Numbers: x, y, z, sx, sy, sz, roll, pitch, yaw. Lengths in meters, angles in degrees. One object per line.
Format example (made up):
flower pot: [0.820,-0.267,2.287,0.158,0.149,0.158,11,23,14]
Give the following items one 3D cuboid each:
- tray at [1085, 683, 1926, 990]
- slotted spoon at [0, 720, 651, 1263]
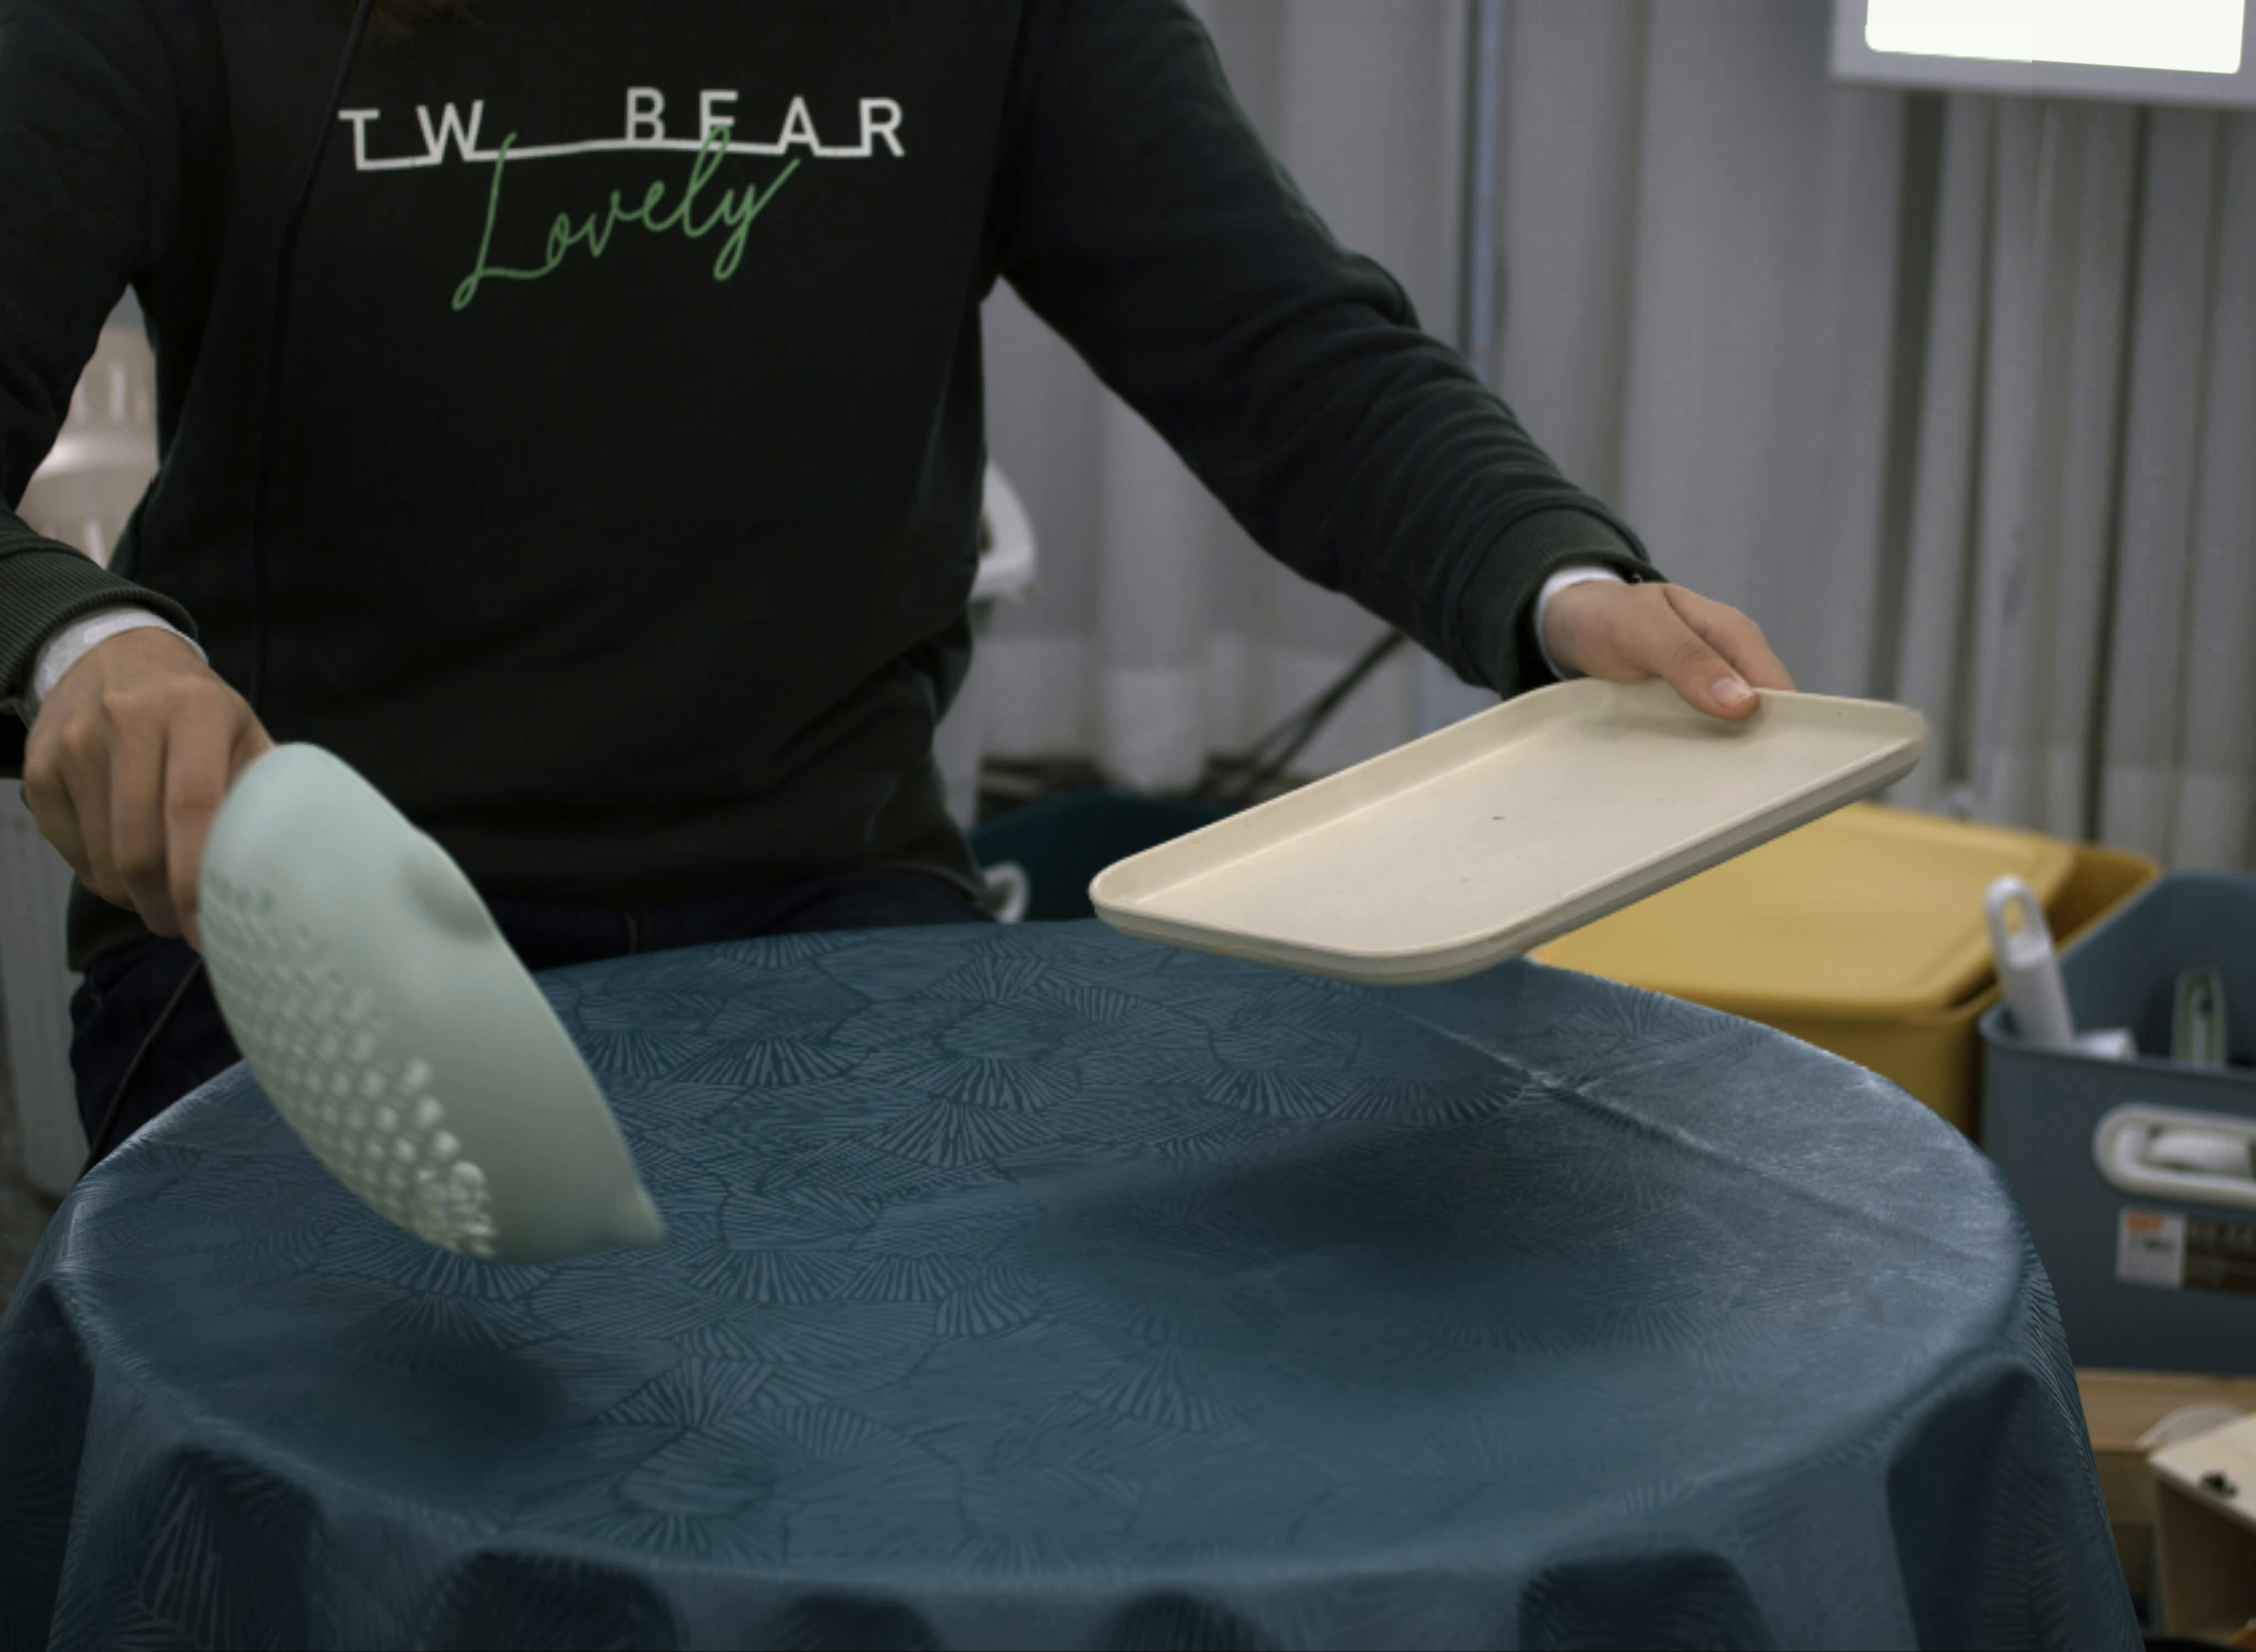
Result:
tray: [0.118,0.002,1.625,0.240,0.017,0.169,-21,20,-37]
slotted spoon: [-0.250,0.027,1.506,0.075,0.171,0.354,-31,29,-15]
